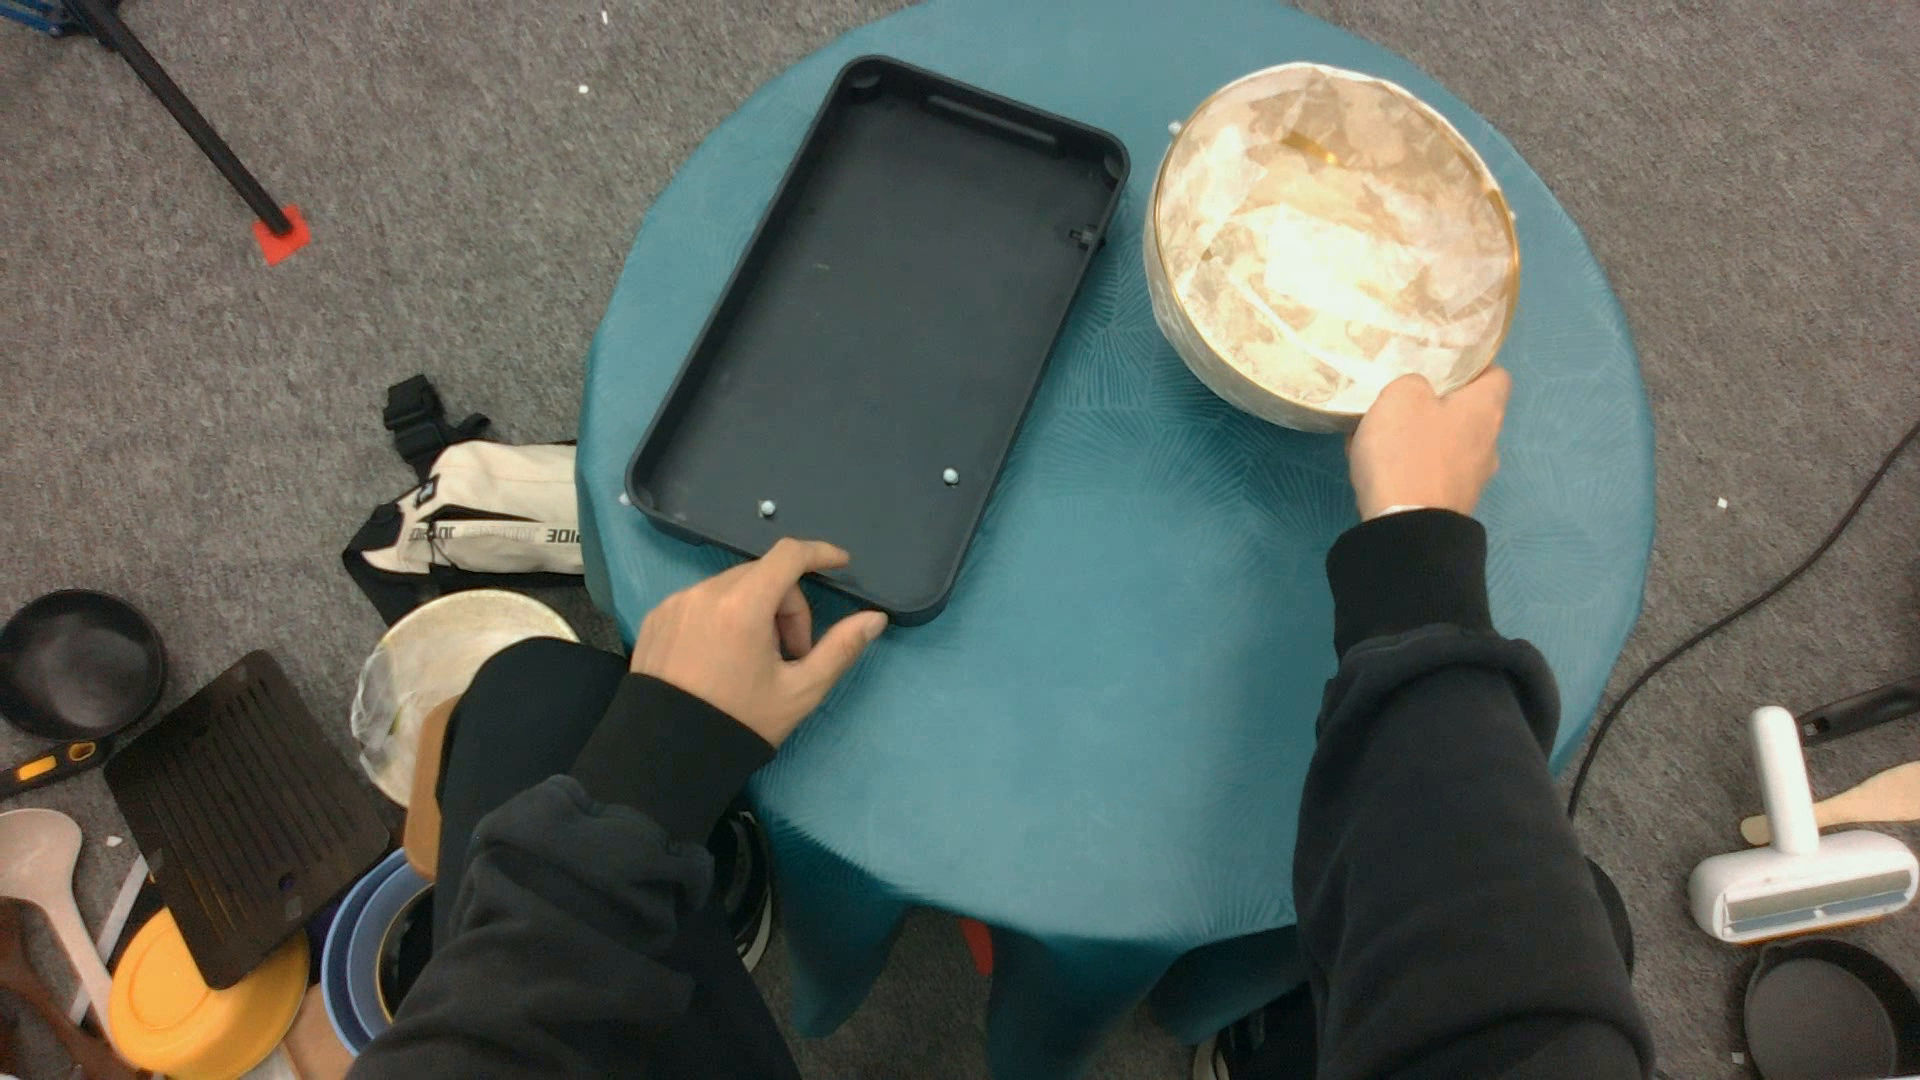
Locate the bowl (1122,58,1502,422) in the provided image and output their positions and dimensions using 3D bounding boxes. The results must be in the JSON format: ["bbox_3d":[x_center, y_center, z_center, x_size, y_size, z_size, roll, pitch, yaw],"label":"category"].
[{"bbox_3d":[0.174,-0.148,0.752,0.215,0.094,0.215,4,73,-11],"label":"bowl"}]

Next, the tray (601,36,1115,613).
[{"bbox_3d":[-0.049,-0.128,0.770,0.184,0.037,0.319,22,71,5],"label":"tray"}]
